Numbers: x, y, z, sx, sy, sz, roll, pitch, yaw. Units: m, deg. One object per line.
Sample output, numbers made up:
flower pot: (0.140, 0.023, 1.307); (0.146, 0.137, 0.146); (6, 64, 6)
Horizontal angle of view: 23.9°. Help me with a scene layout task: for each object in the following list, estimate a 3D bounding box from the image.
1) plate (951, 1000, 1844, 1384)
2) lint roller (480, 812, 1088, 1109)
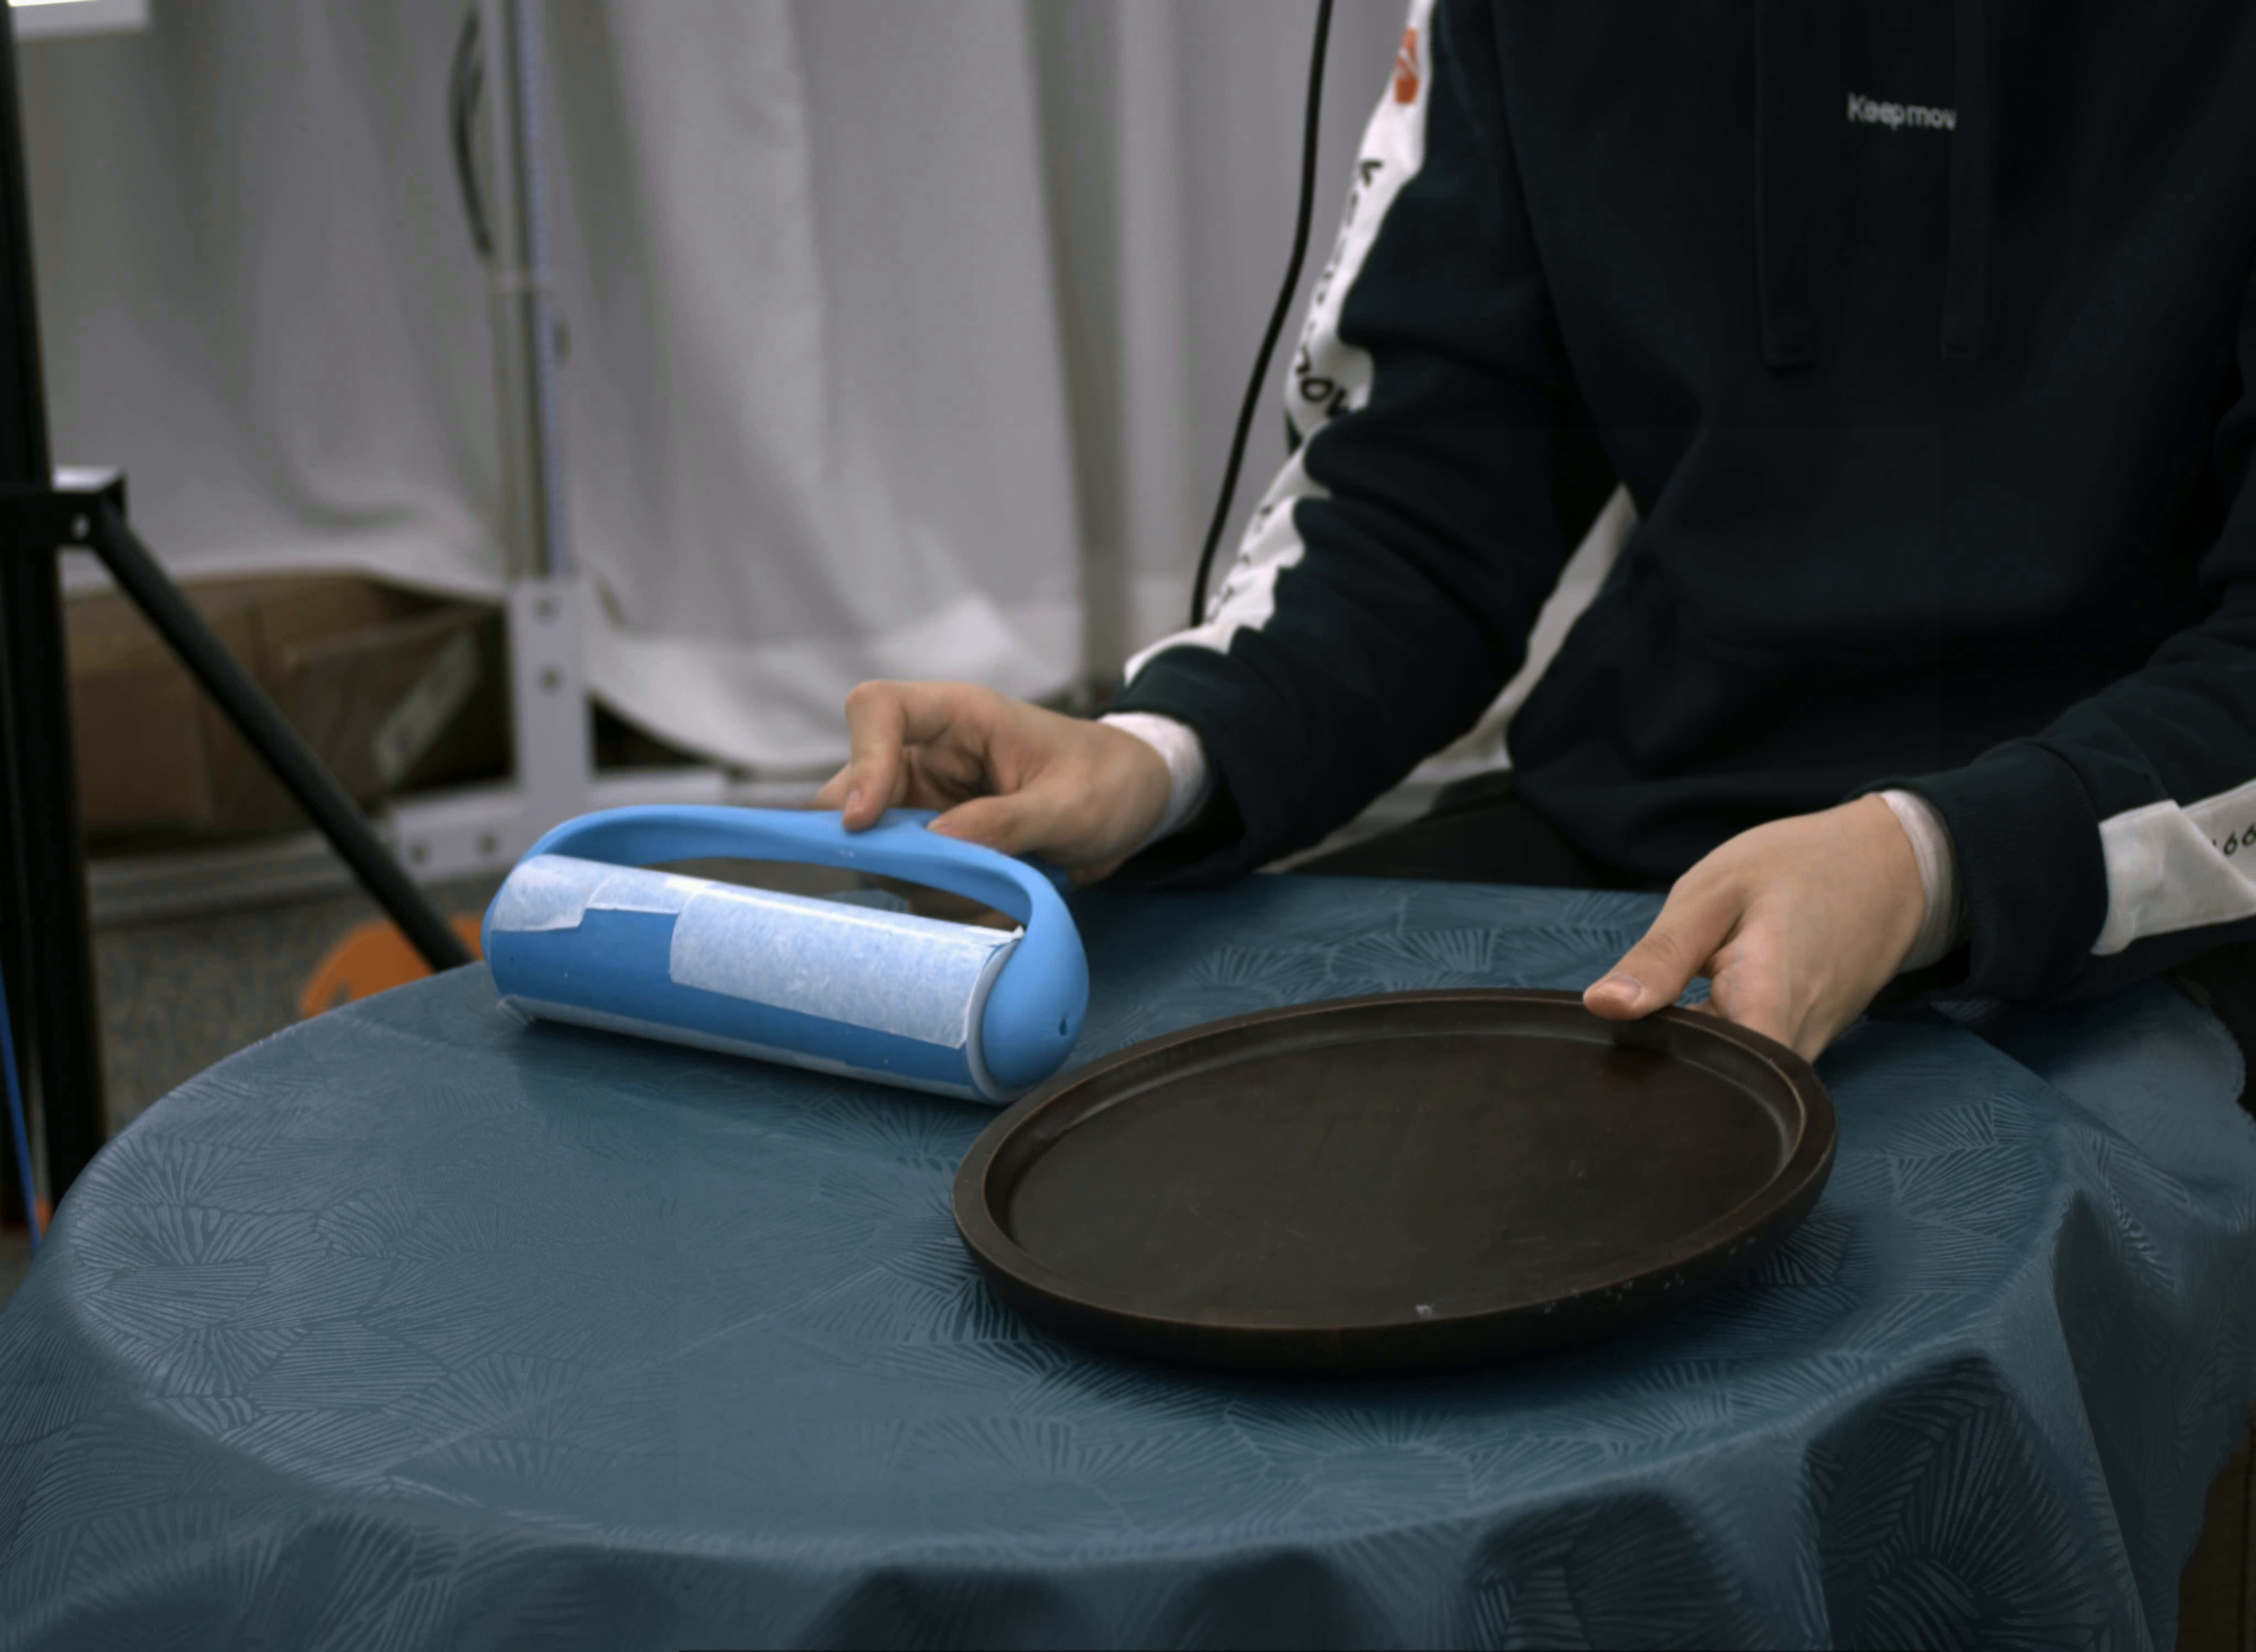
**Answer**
plate: (0.076, 0.100, 1.499); (0.254, 0.029, 0.256); (-6, 19, 1)
lint roller: (-0.082, 0.028, 1.733); (0.233, 0.068, 0.177); (6, 24, 33)
